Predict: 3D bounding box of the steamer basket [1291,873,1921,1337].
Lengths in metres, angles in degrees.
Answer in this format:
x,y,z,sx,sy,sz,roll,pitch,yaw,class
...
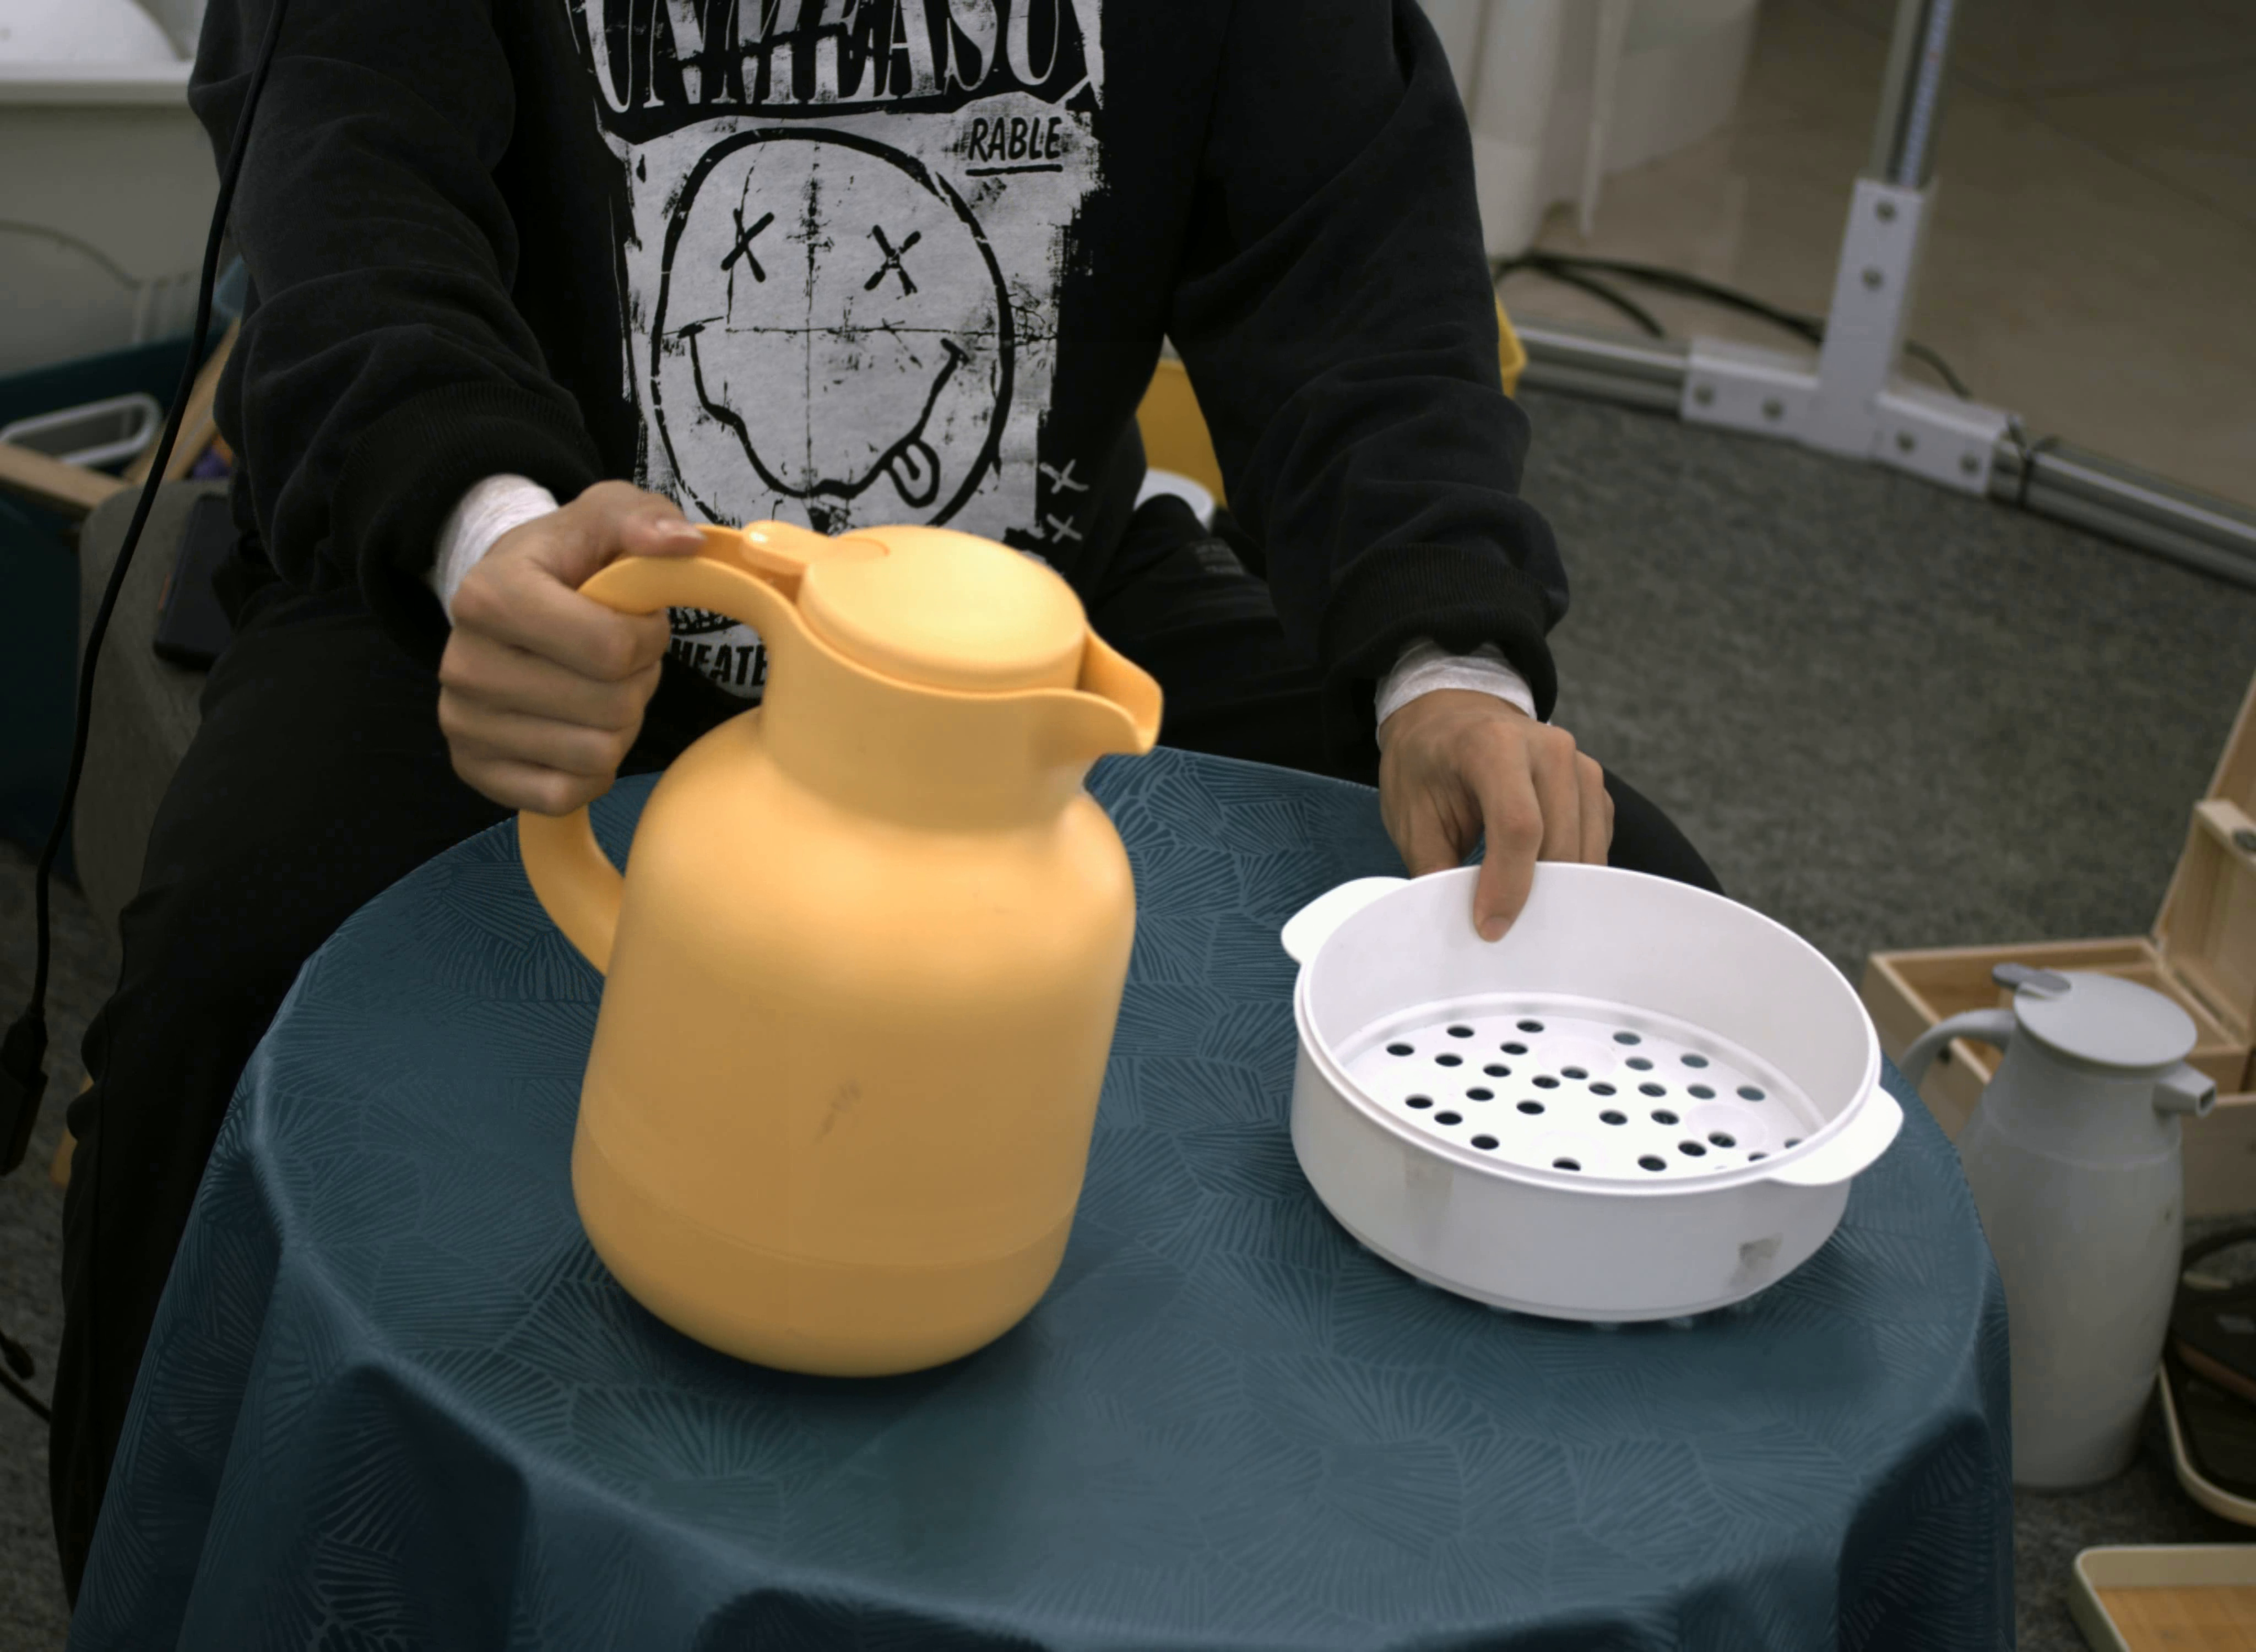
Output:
x,y,z,sx,sy,sz,roll,pitch,yaw,class
0.158,0.096,1.817,0.232,0.069,0.201,24,36,29,steamer basket

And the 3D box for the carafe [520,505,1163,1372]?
x,y,z,sx,sy,sz,roll,pitch,yaw,class
-0.099,0.024,1.674,0.203,0.260,0.163,23,27,15,carafe
